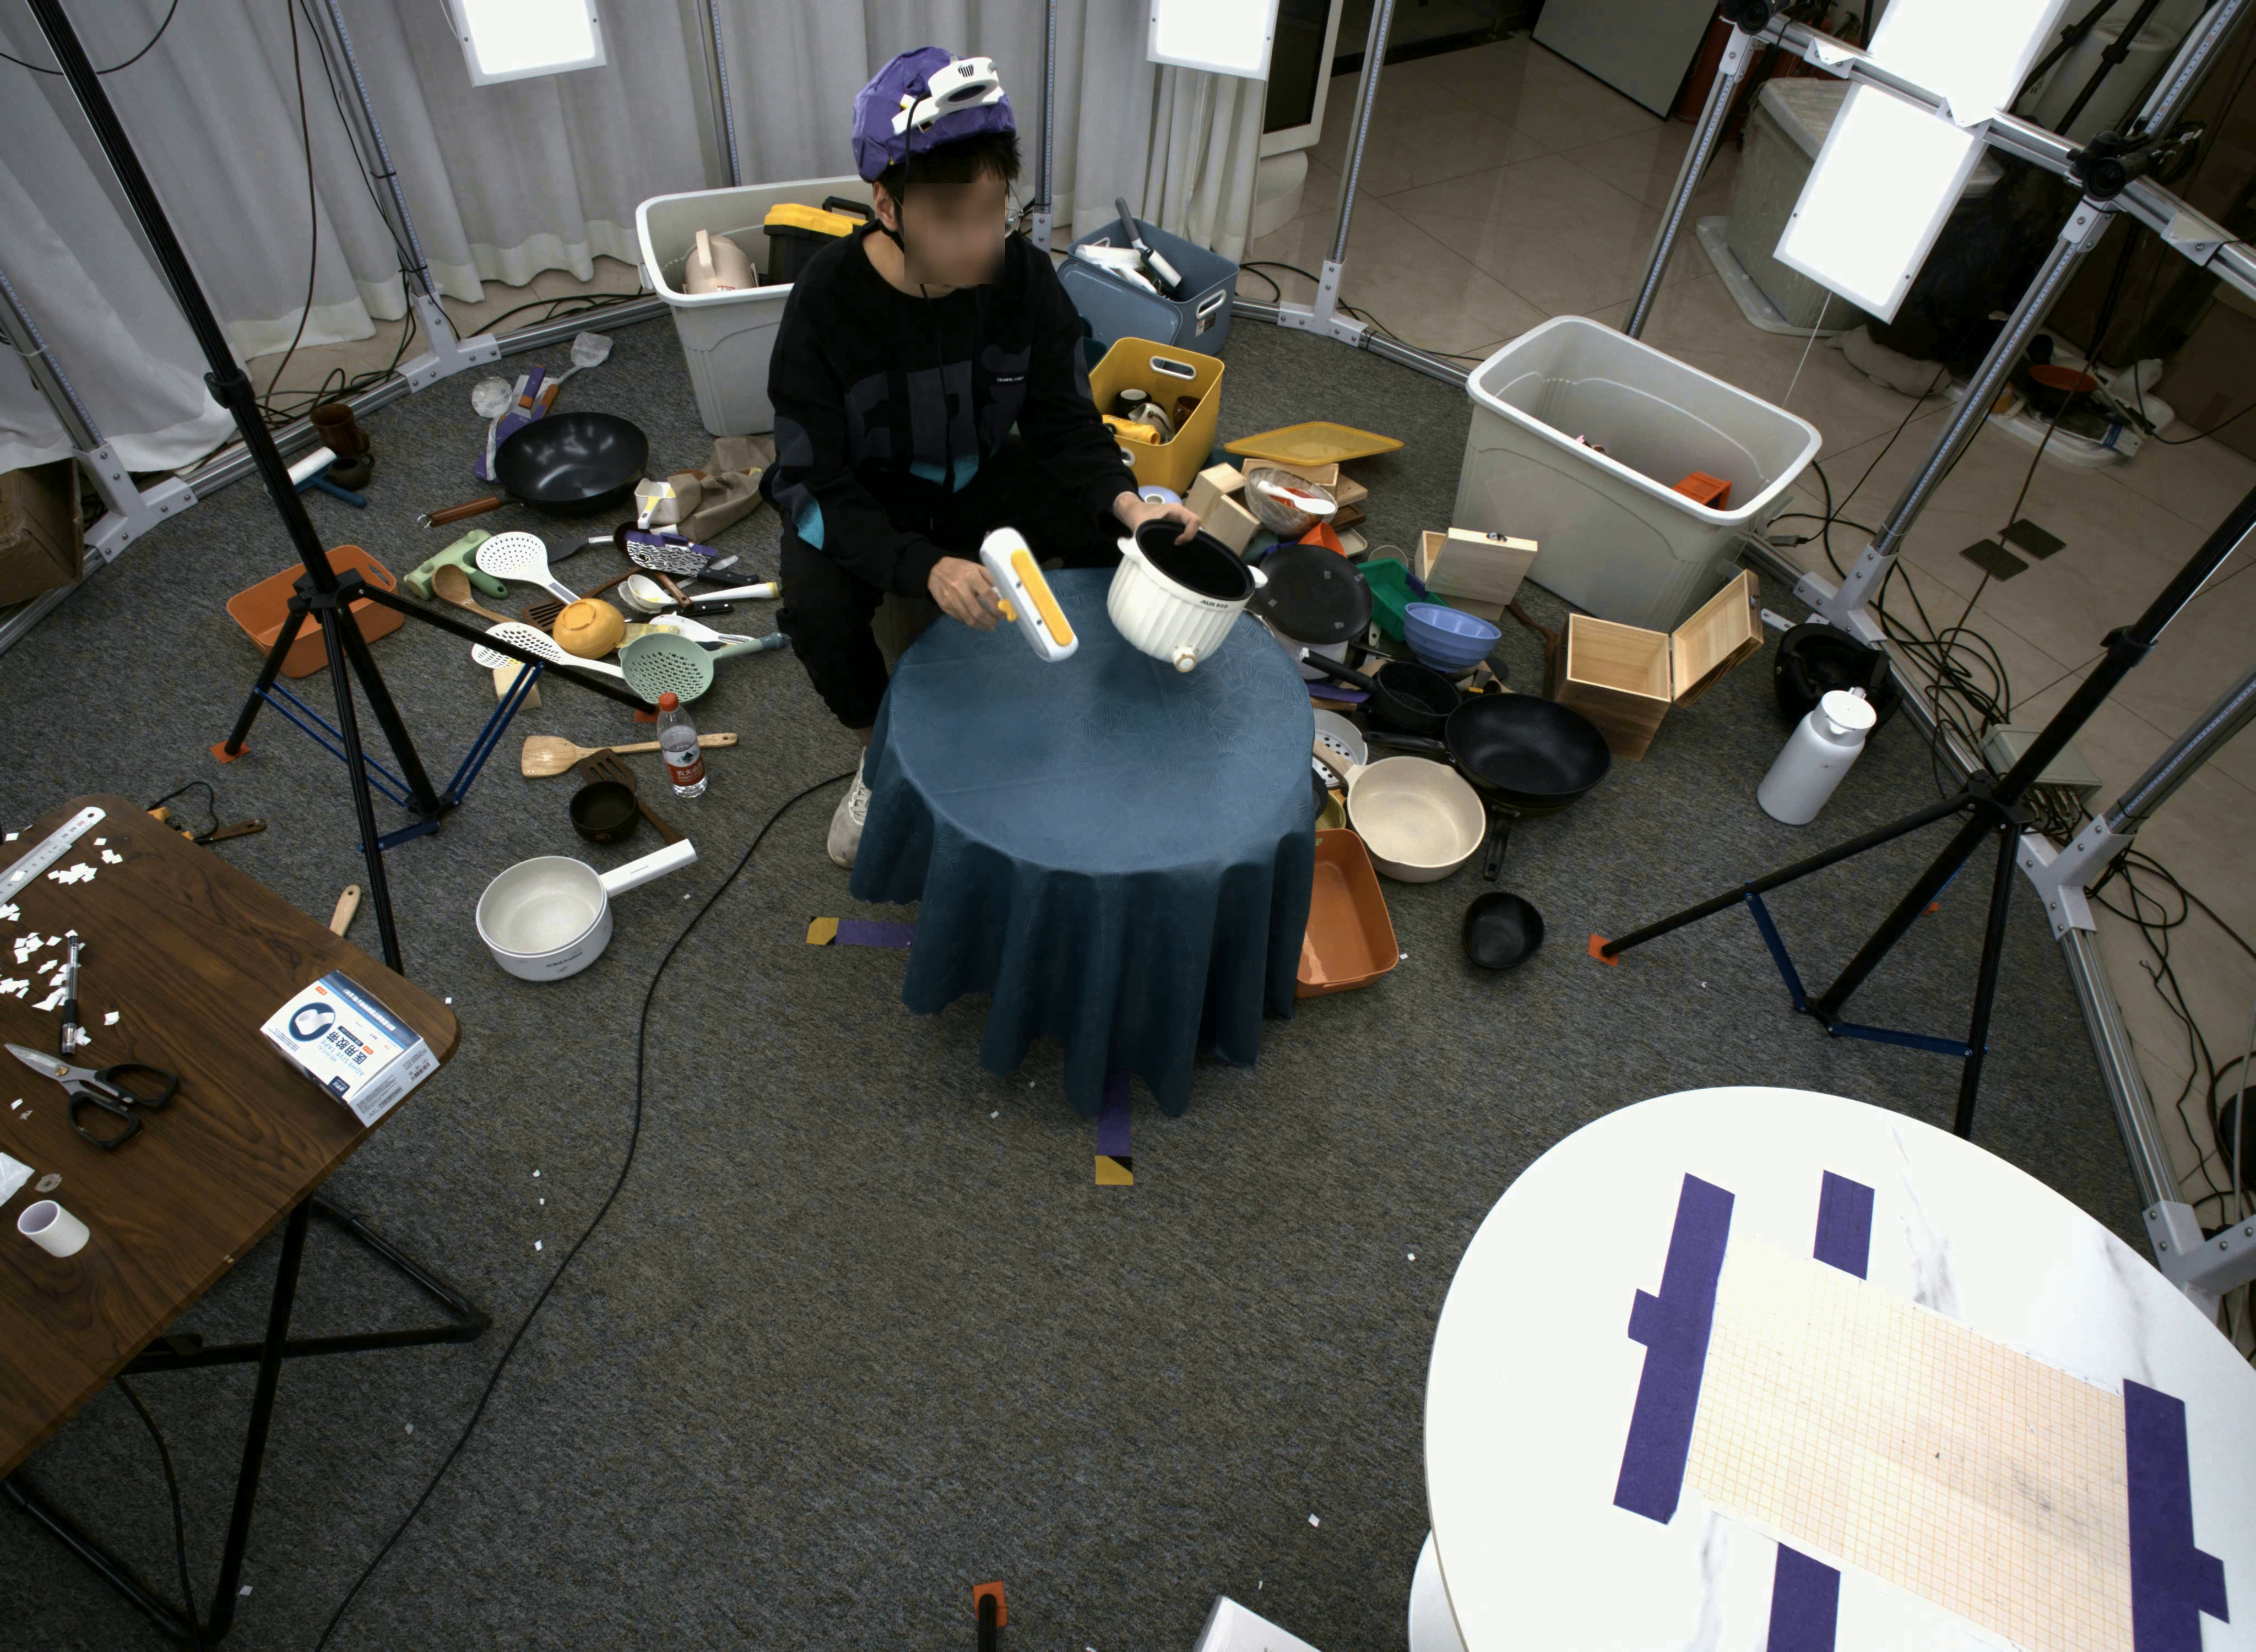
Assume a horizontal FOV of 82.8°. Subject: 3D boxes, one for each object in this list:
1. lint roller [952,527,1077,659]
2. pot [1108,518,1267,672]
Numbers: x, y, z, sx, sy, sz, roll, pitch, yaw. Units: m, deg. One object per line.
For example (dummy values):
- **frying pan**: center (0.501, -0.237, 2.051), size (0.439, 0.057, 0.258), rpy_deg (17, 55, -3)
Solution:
- **lint roller**: center (-0.171, -0.306, 1.734), size (0.075, 0.189, 0.194), rpy_deg (-47, 28, -17)
- **pot**: center (0.069, -0.316, 1.788), size (0.239, 0.140, 0.195), rpy_deg (5, 39, -28)
